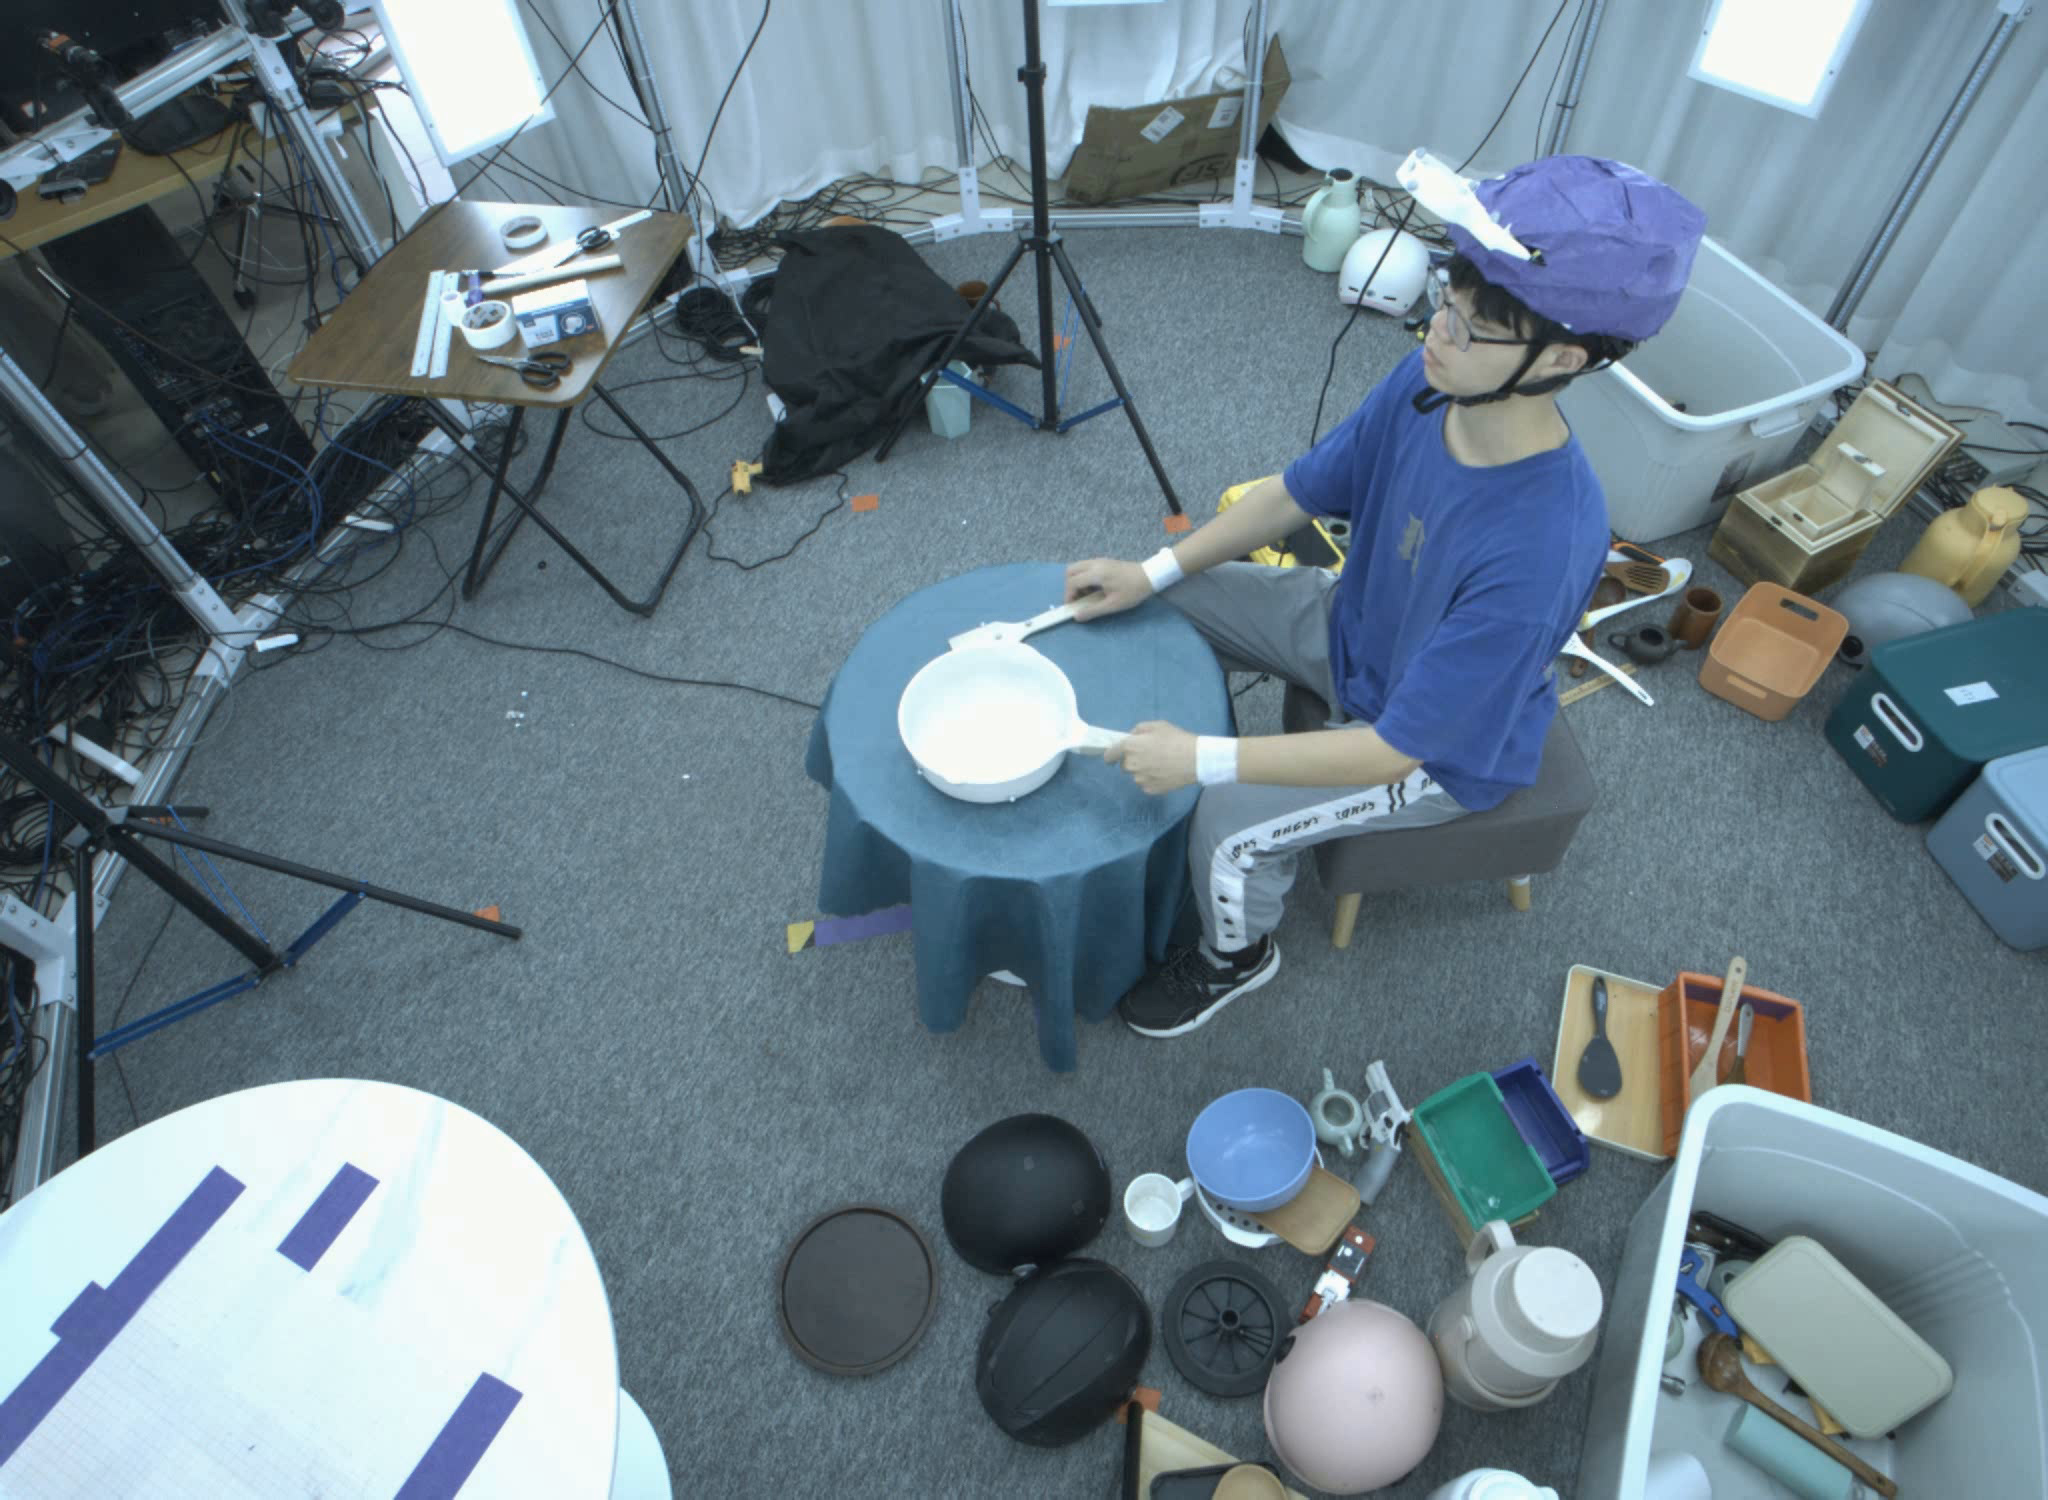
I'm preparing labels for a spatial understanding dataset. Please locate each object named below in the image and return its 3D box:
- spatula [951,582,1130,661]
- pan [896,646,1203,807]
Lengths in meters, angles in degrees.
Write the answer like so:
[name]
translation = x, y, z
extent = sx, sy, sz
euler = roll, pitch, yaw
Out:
[spatula]
translation = 0.031, -0.201, 1.910
extent = 0.294, 0.011, 0.071
euler = -23, 56, -10
[pan]
translation = 0.034, -0.011, 1.723
extent = 0.431, 0.103, 0.263
euler = 14, 54, 12
